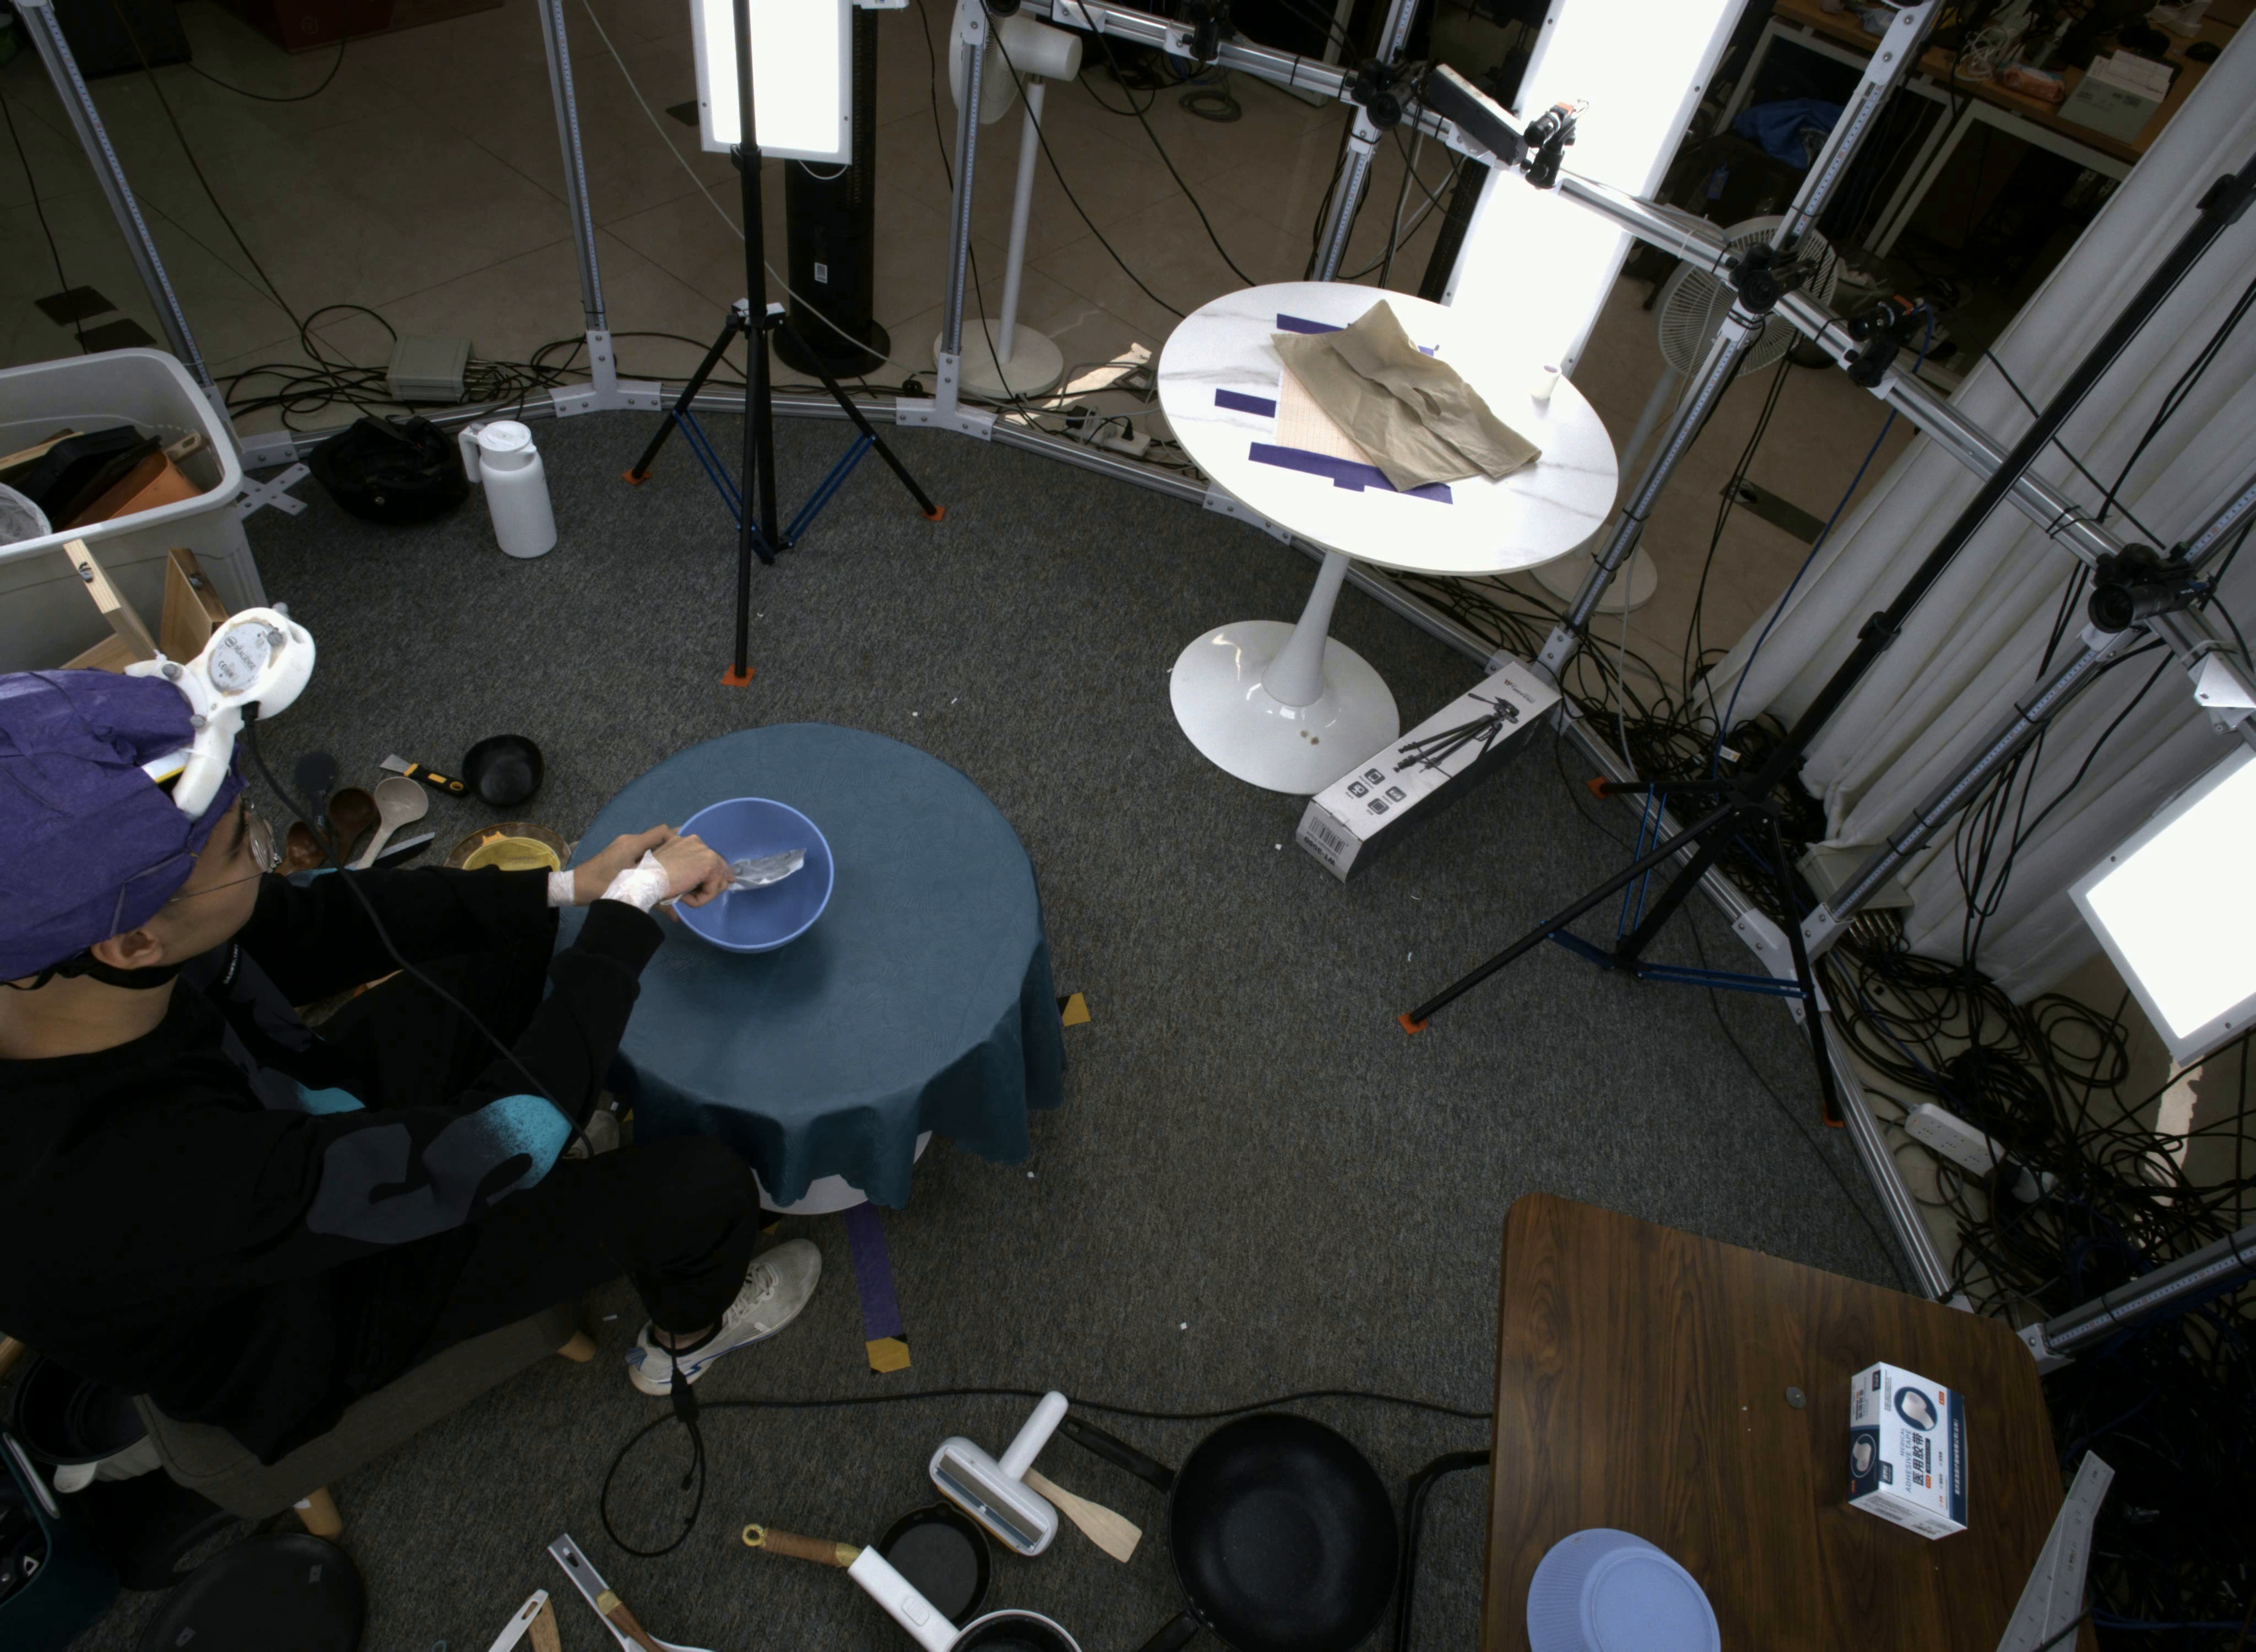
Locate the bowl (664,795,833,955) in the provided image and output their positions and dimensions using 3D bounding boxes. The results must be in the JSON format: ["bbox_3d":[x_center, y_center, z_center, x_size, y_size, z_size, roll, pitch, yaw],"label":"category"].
[{"bbox_3d":[-0.460,0.071,1.574,0.197,0.096,0.194,8,65,-14],"label":"bowl"}]

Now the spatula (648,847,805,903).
[{"bbox_3d":[-0.449,0.052,1.426,0.097,0.365,0.045,-11,89,3],"label":"spatula"}]
